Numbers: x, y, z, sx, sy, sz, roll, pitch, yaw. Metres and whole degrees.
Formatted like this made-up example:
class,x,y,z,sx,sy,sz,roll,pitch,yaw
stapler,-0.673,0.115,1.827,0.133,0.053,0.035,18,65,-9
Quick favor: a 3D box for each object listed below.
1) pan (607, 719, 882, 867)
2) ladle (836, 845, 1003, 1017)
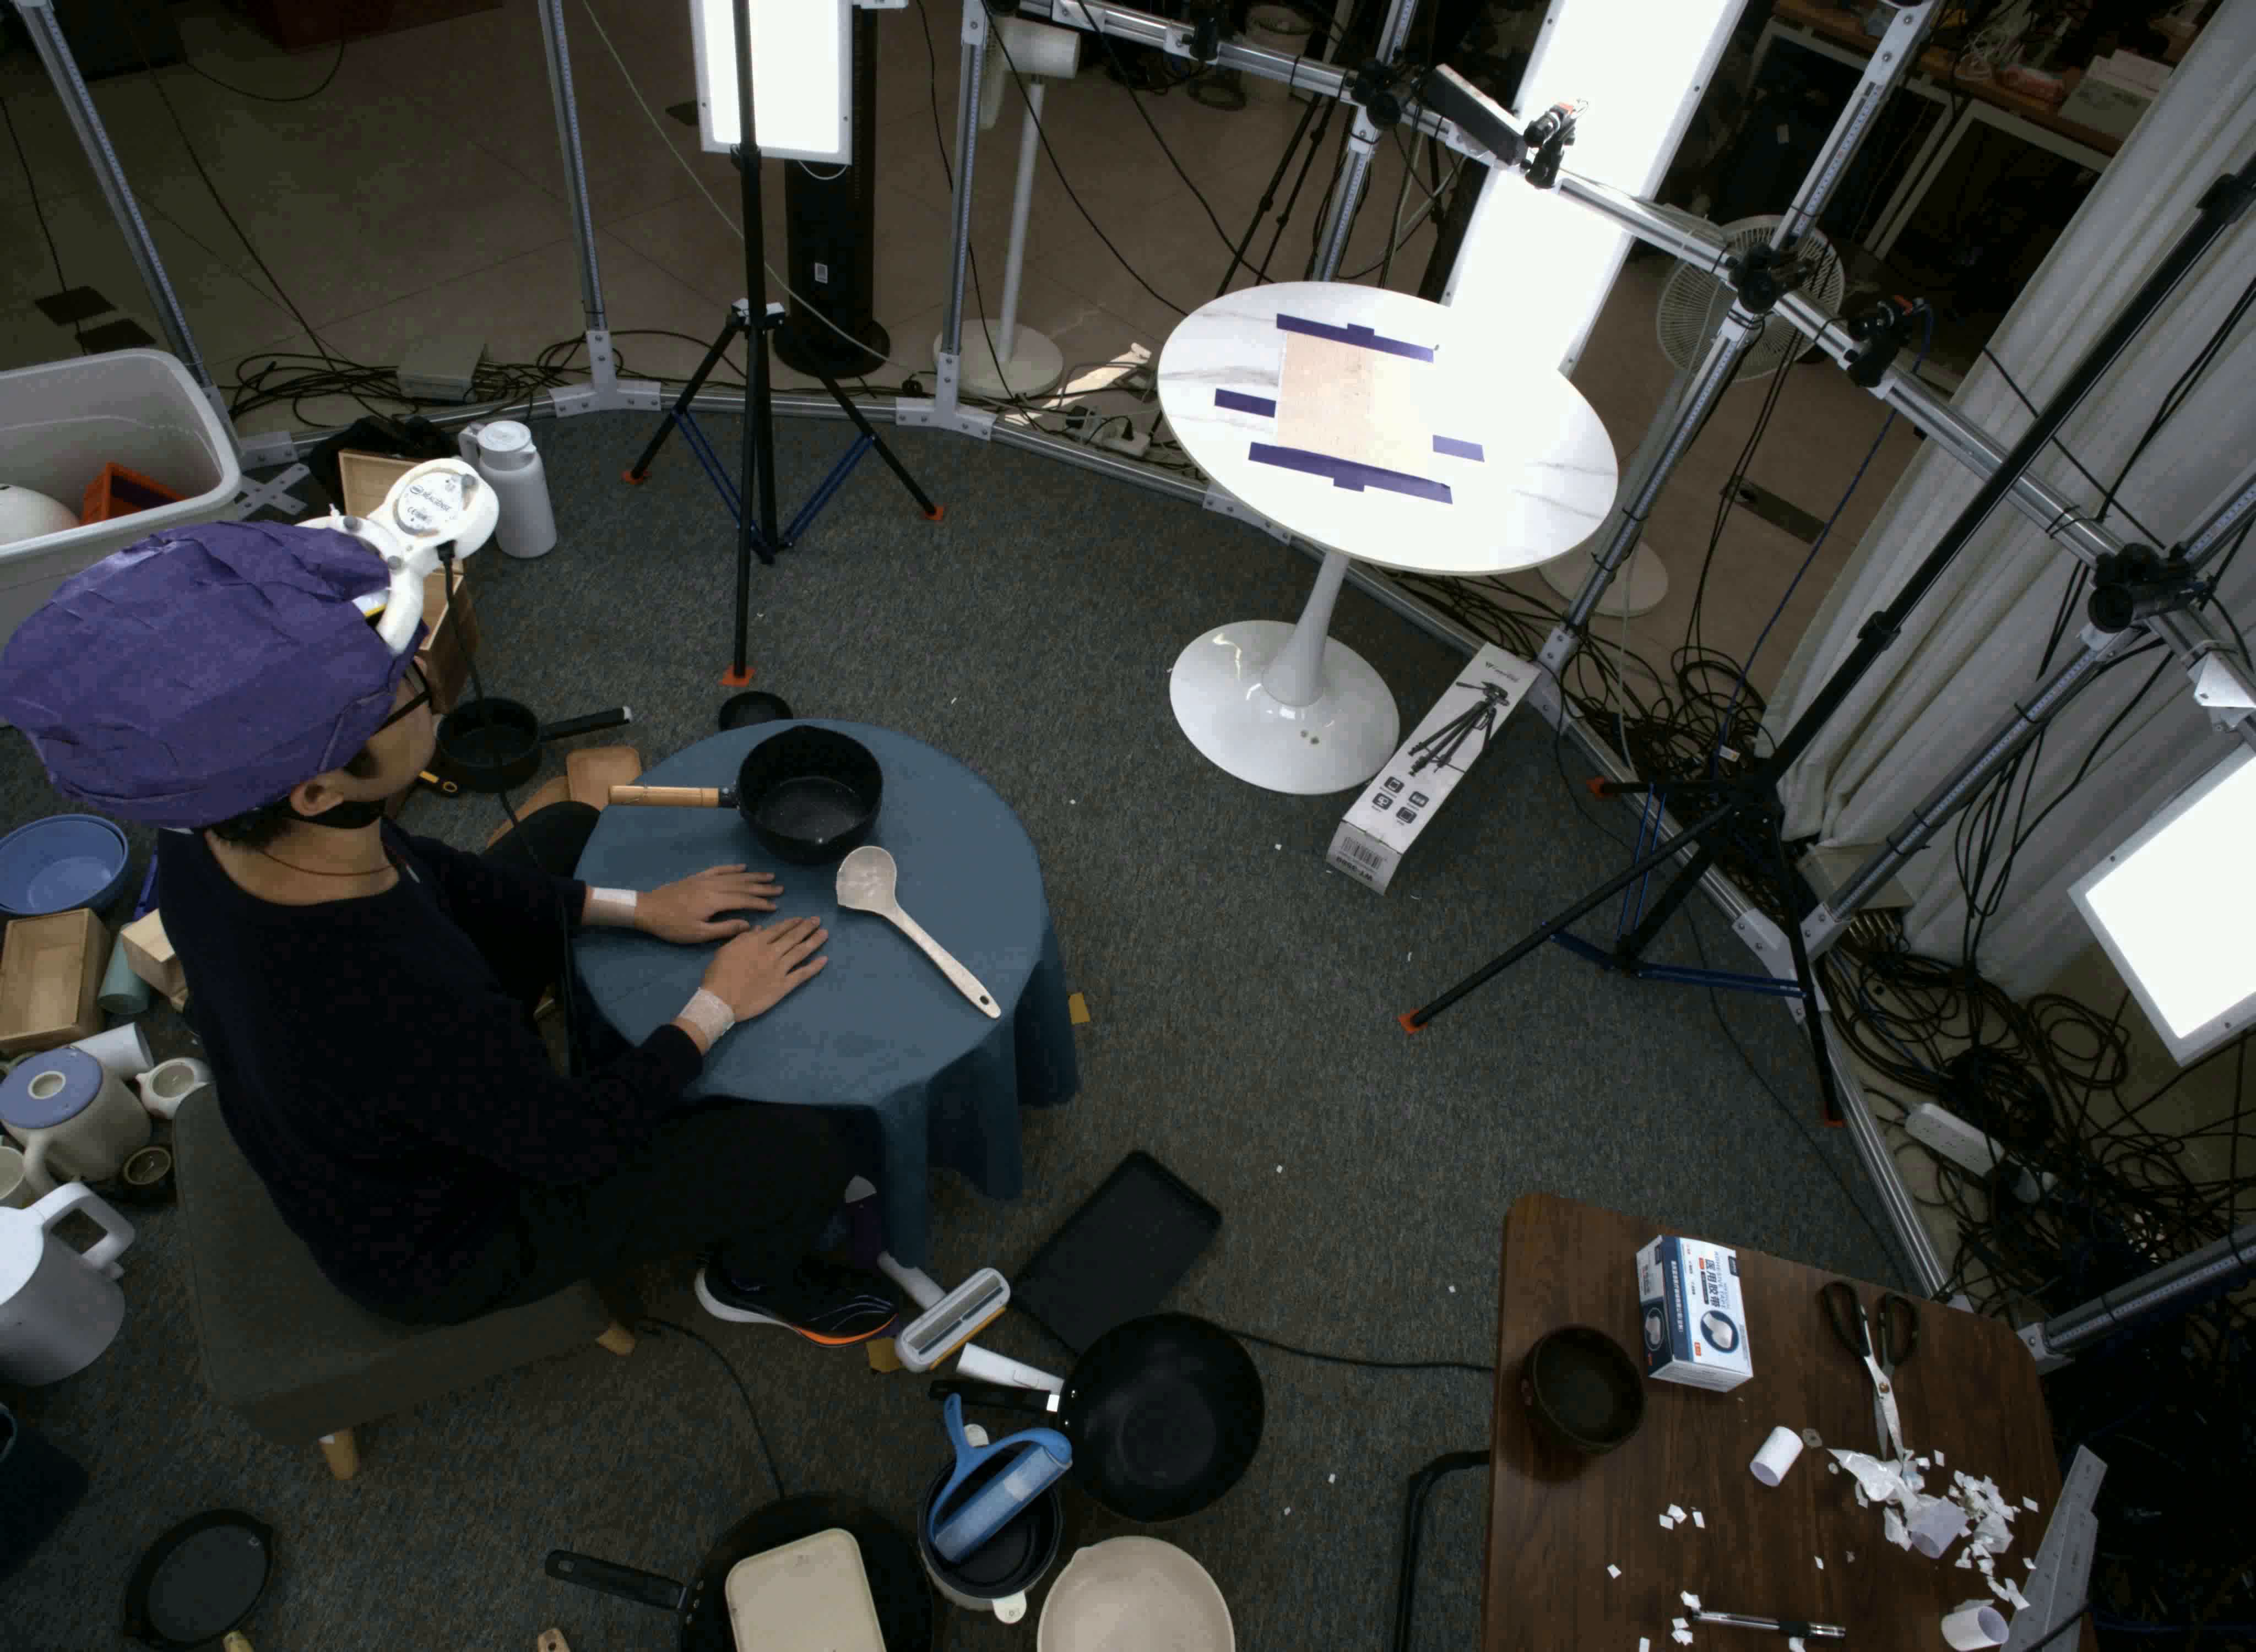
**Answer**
class,x,y,z,sx,sy,sz,roll,pitch,yaw
pan,-0.487,-0.031,1.650,0.345,0.110,0.202,-7,57,-21
ladle,-0.253,0.129,1.618,0.269,0.071,0.089,39,50,15
